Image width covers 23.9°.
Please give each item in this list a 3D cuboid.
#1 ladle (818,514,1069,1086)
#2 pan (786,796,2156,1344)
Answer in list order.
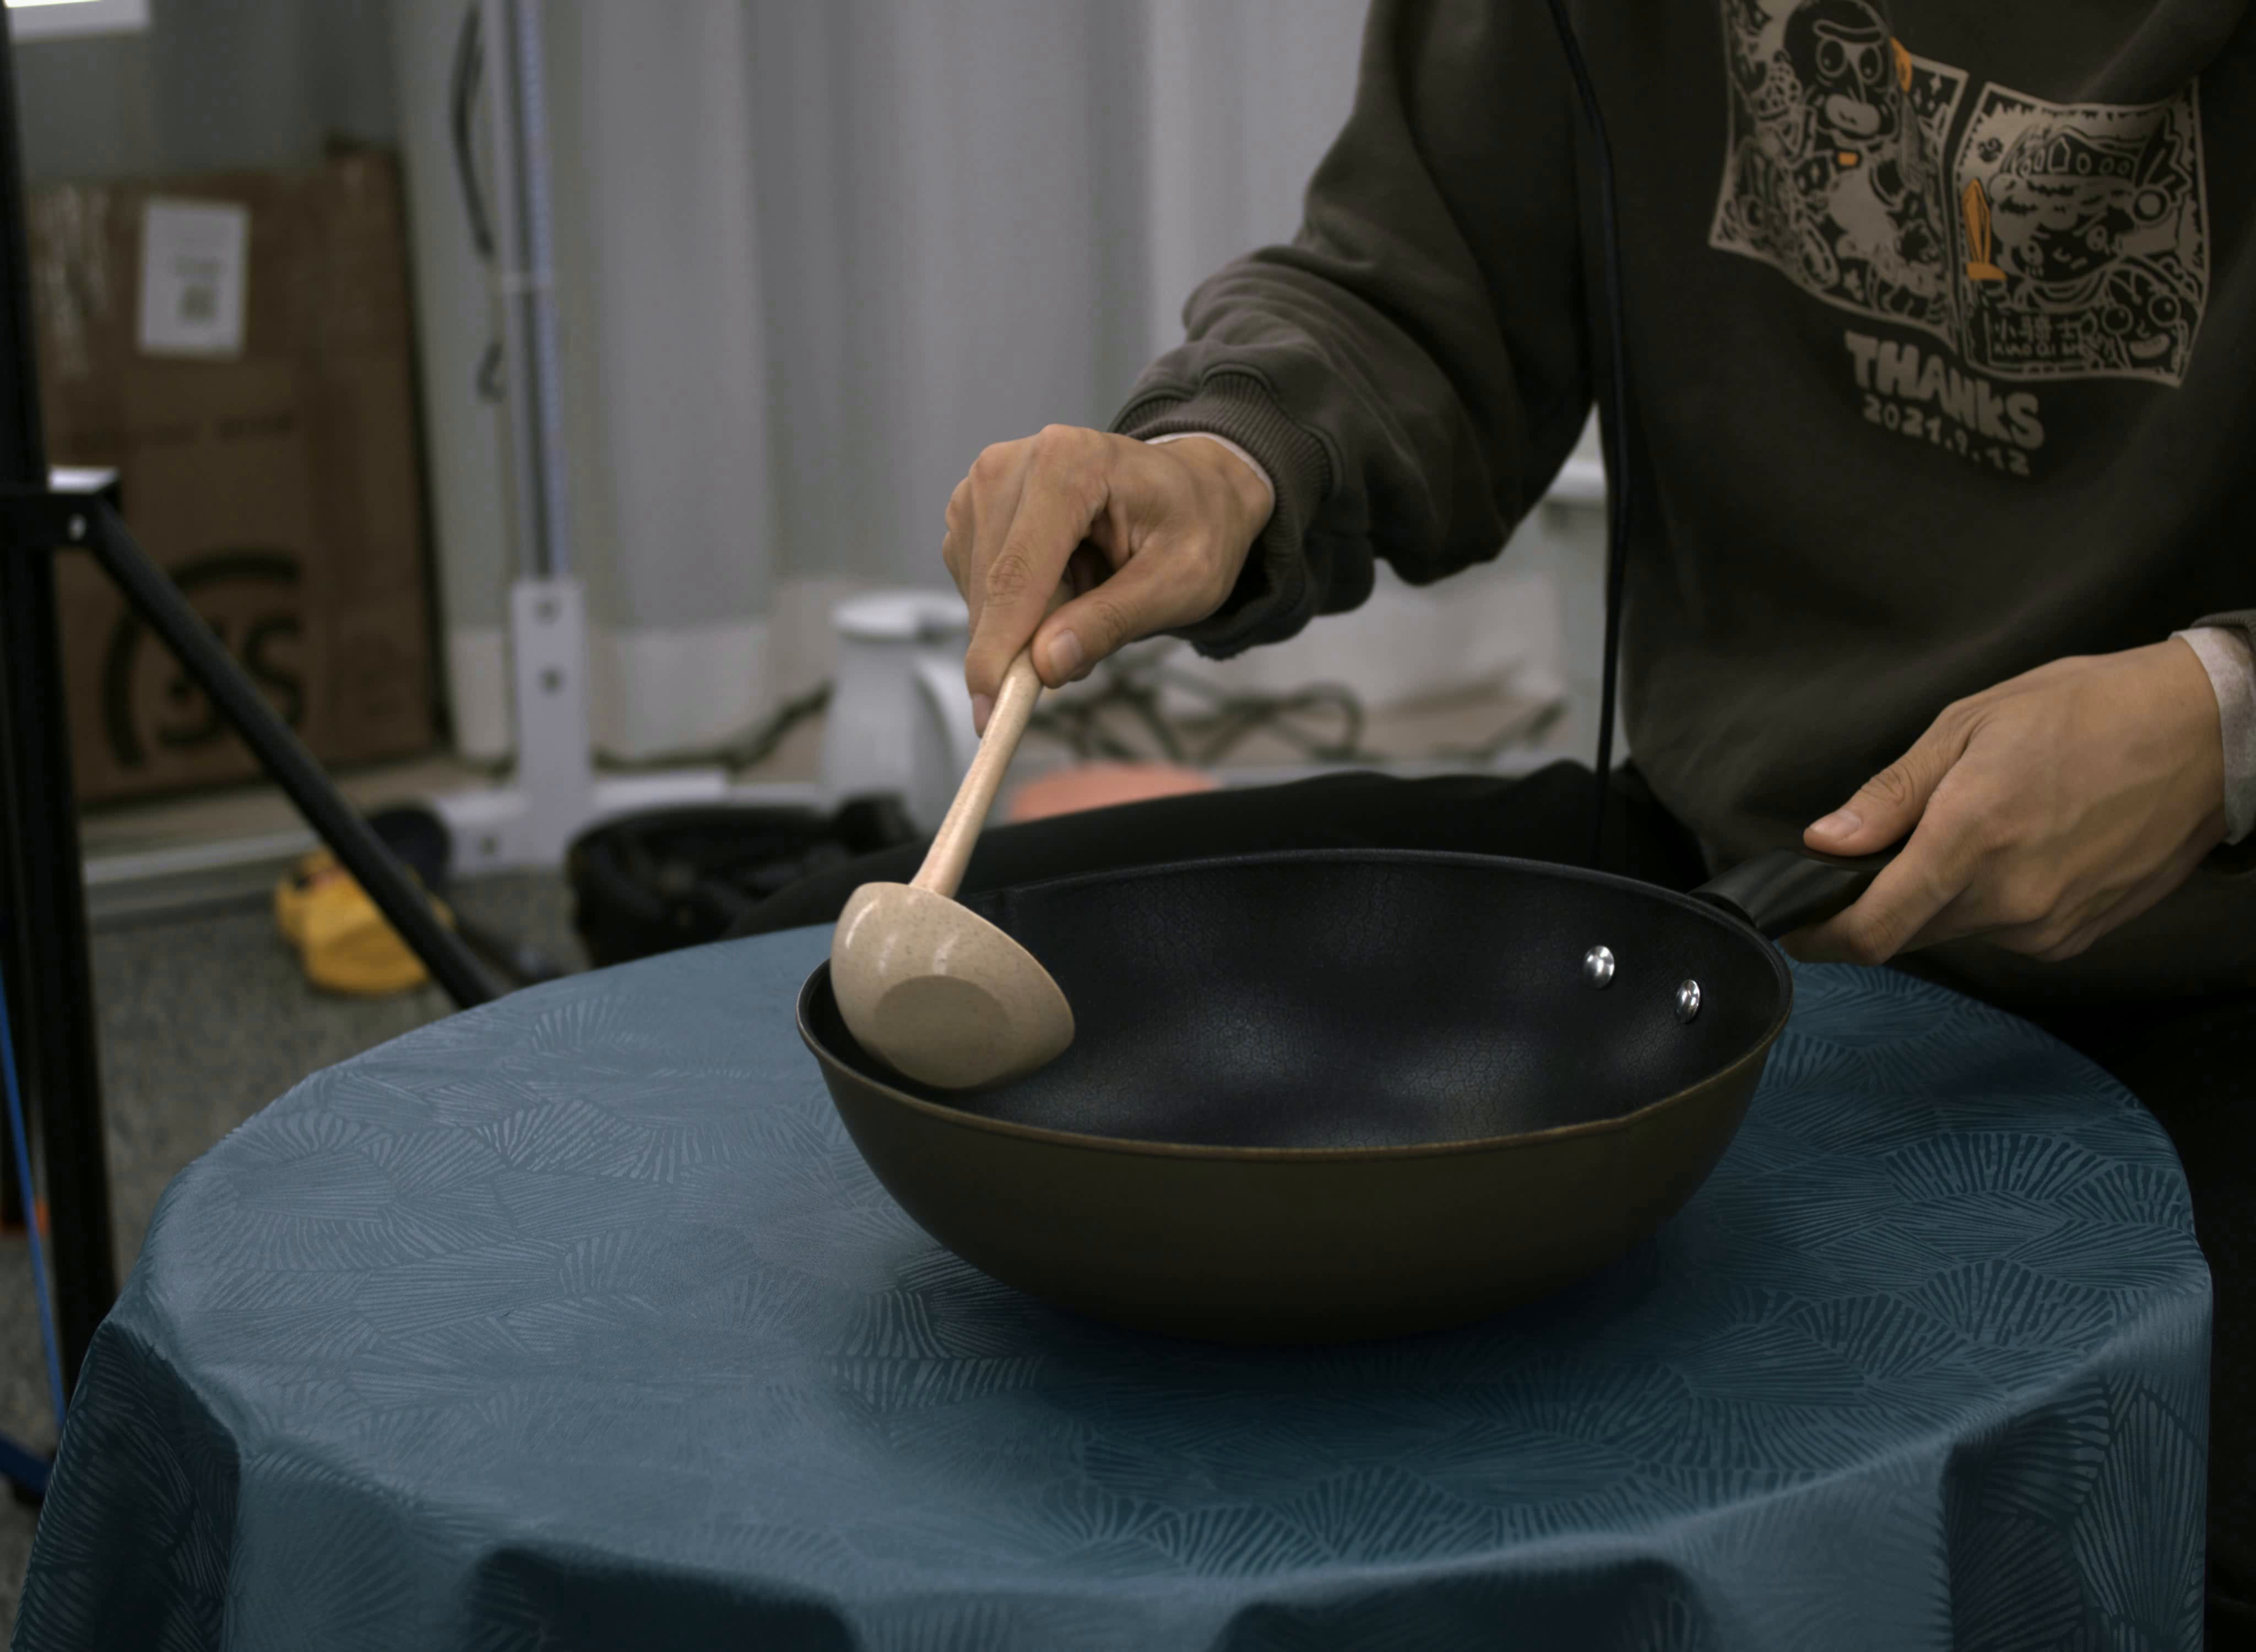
[{"bbox_3d":[-0.030,-0.026,1.537,0.074,0.071,0.255,-37,24,38],"label":"ladle"},{"bbox_3d":[0.120,0.065,1.541,0.453,0.087,0.294,-11,18,-31],"label":"pan"}]
